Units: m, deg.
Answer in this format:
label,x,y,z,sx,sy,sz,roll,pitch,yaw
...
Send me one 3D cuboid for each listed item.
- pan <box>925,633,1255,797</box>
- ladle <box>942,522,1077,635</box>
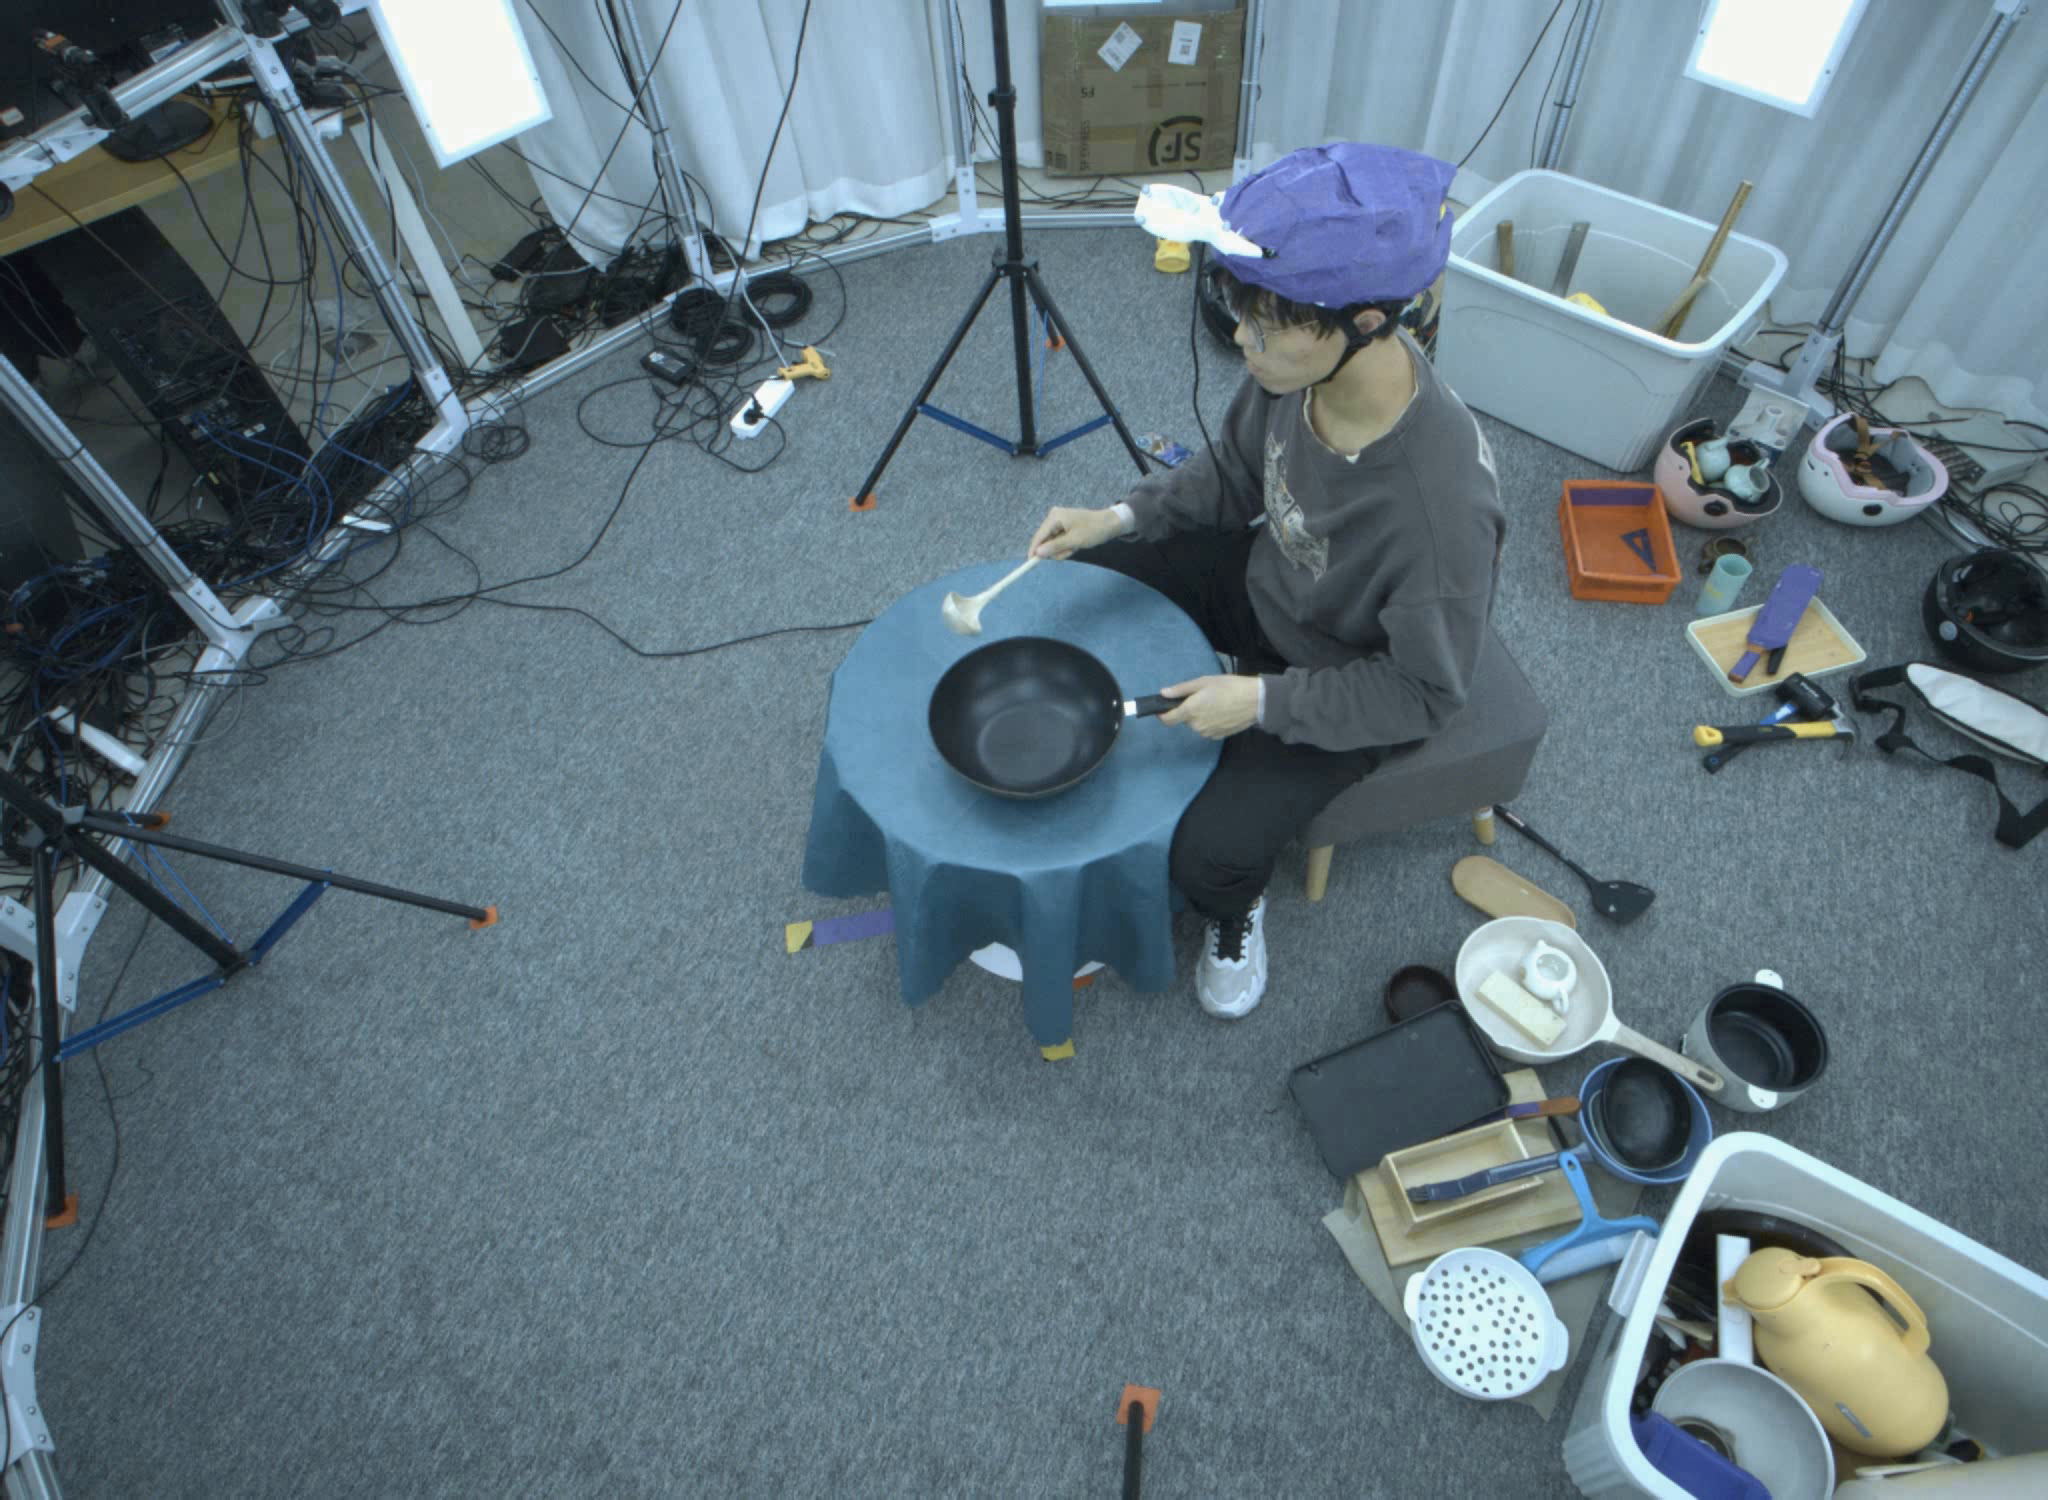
label,x,y,z,sx,sy,sz,roll,pitch,yaw
pan,0.094,-0.042,1.760,0.464,0.088,0.284,-3,54,-1
ladle,-0.012,-0.264,1.804,0.255,0.072,0.072,-40,96,-11
